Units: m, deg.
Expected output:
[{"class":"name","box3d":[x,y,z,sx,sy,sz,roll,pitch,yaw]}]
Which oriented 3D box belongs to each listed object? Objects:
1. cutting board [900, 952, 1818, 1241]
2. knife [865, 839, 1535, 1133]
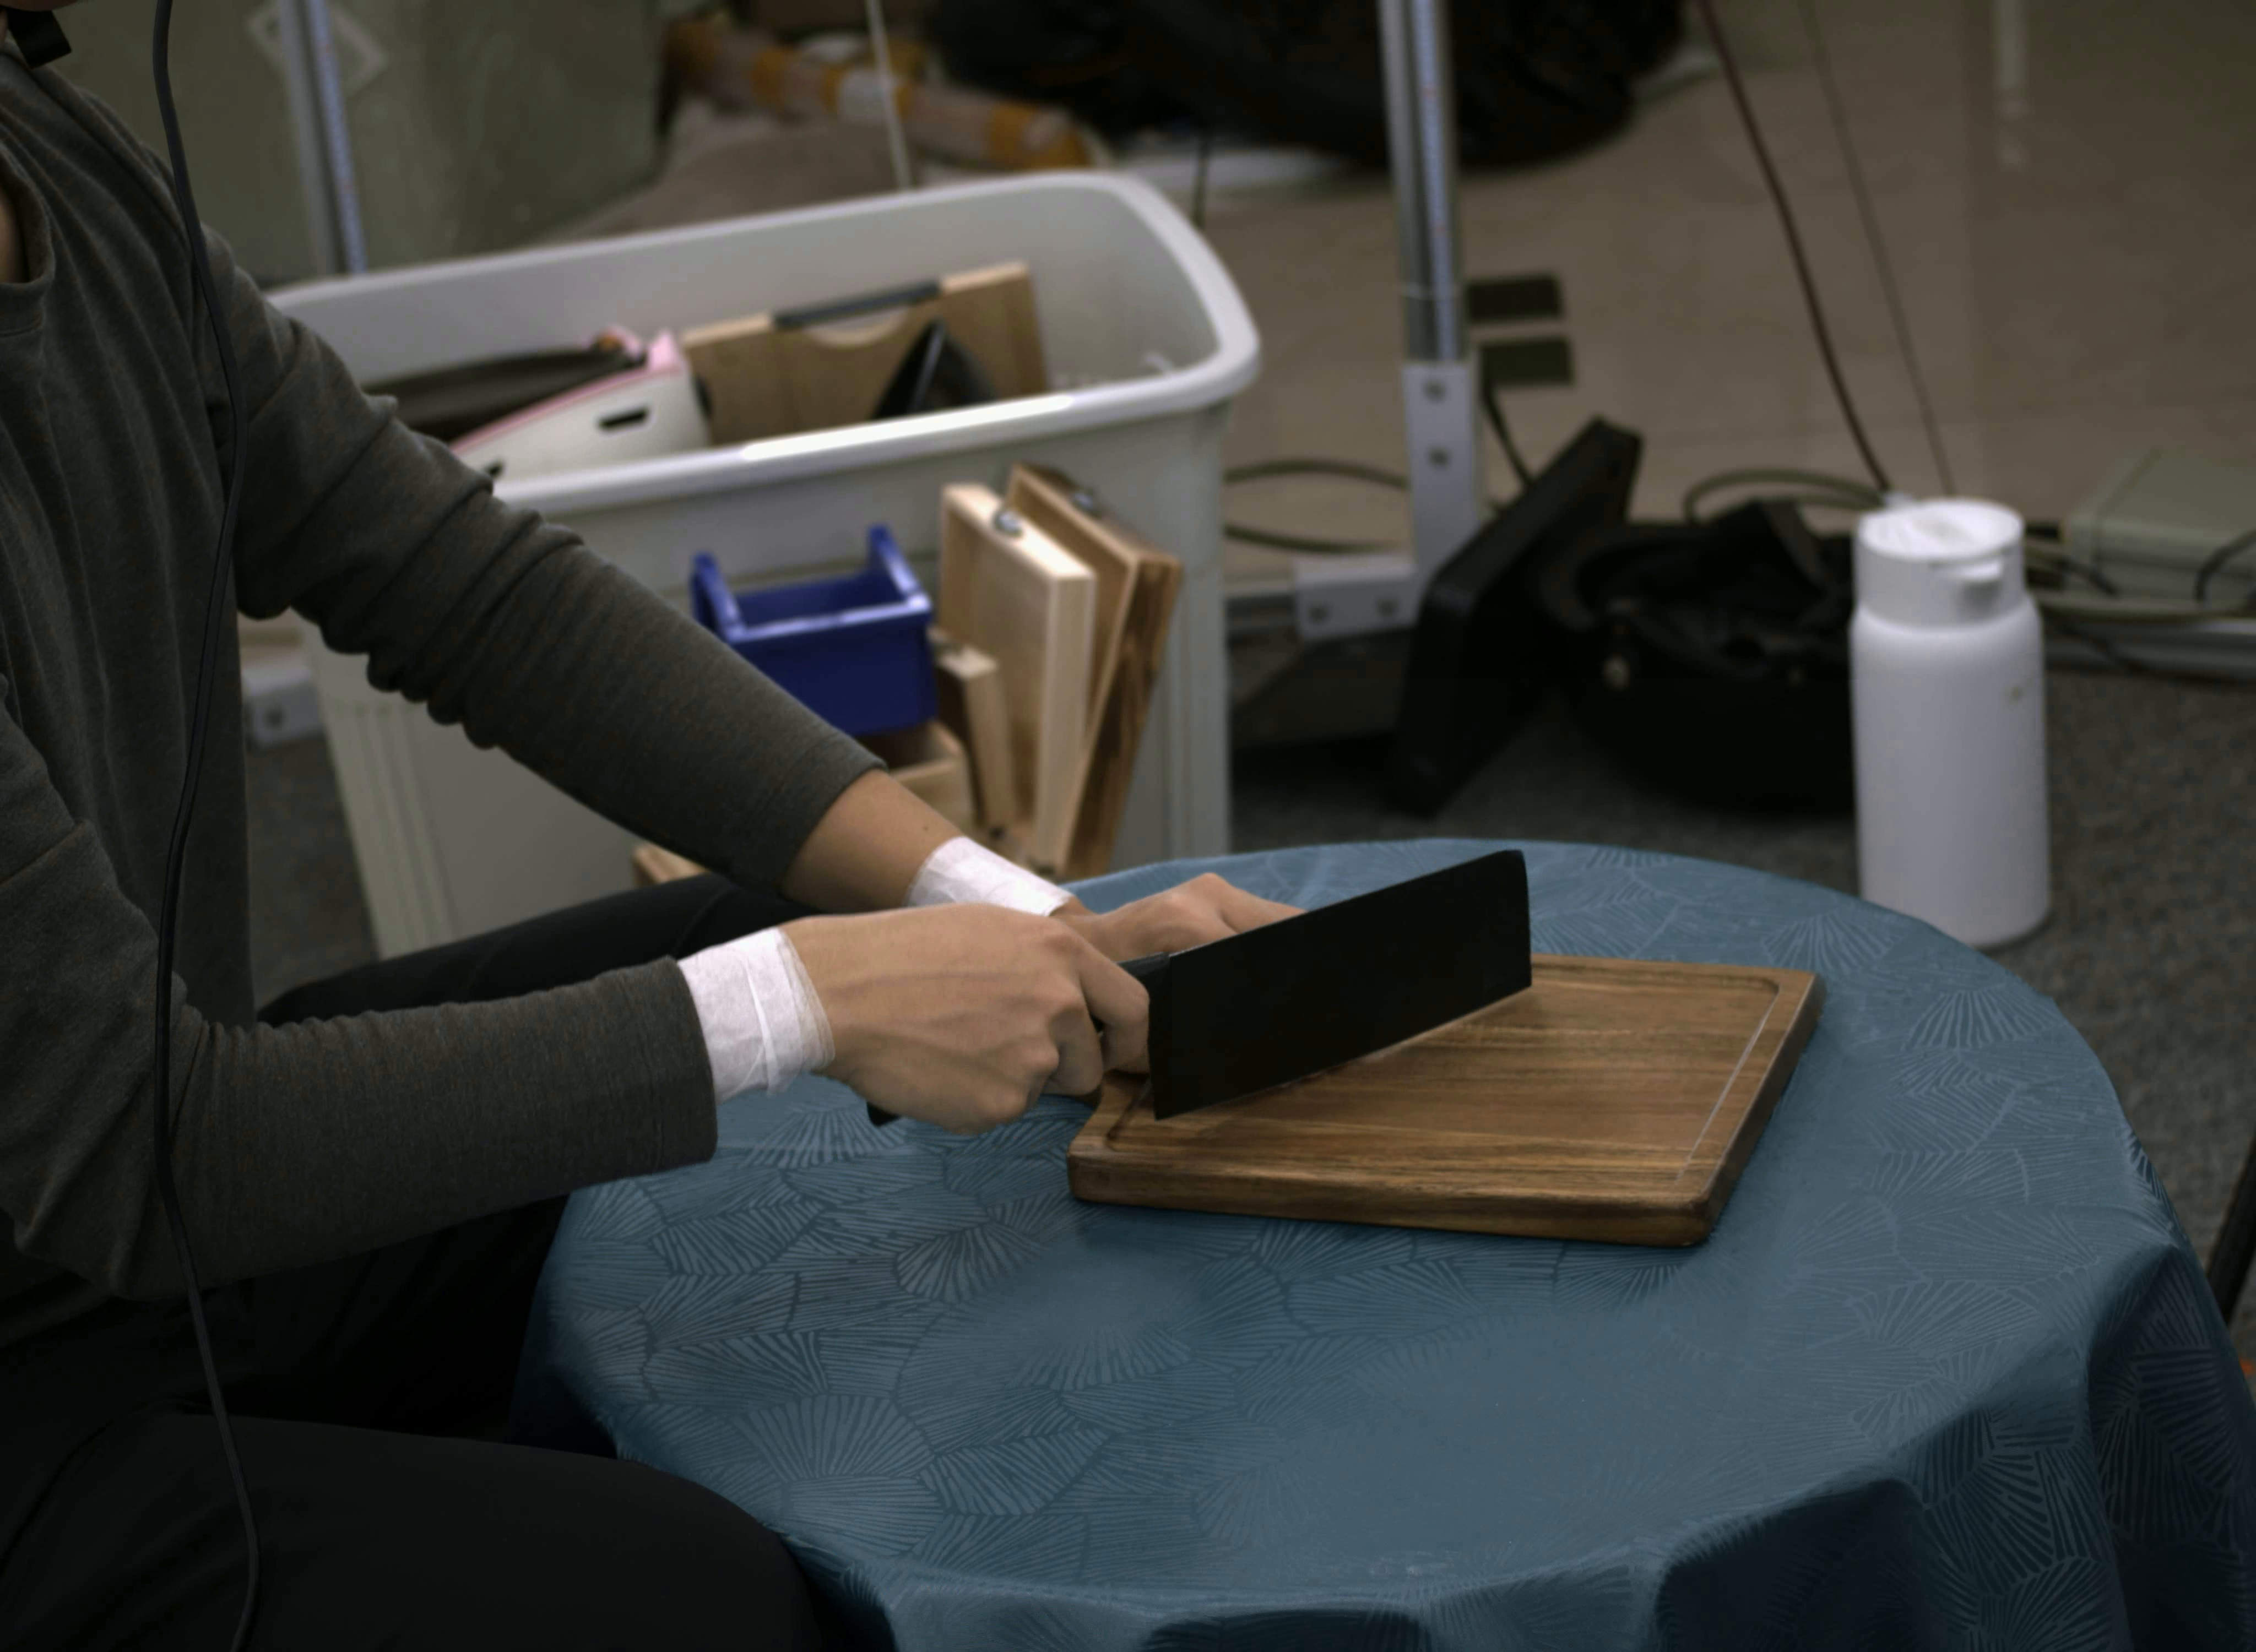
[{"class":"cutting board","box3d":[0.077,0.096,2.200,0.351,0.023,0.198,3,26,20]},{"class":"knife","box3d":[0.033,0.070,2.148,0.301,0.082,0.020,-13,23,-30]}]
